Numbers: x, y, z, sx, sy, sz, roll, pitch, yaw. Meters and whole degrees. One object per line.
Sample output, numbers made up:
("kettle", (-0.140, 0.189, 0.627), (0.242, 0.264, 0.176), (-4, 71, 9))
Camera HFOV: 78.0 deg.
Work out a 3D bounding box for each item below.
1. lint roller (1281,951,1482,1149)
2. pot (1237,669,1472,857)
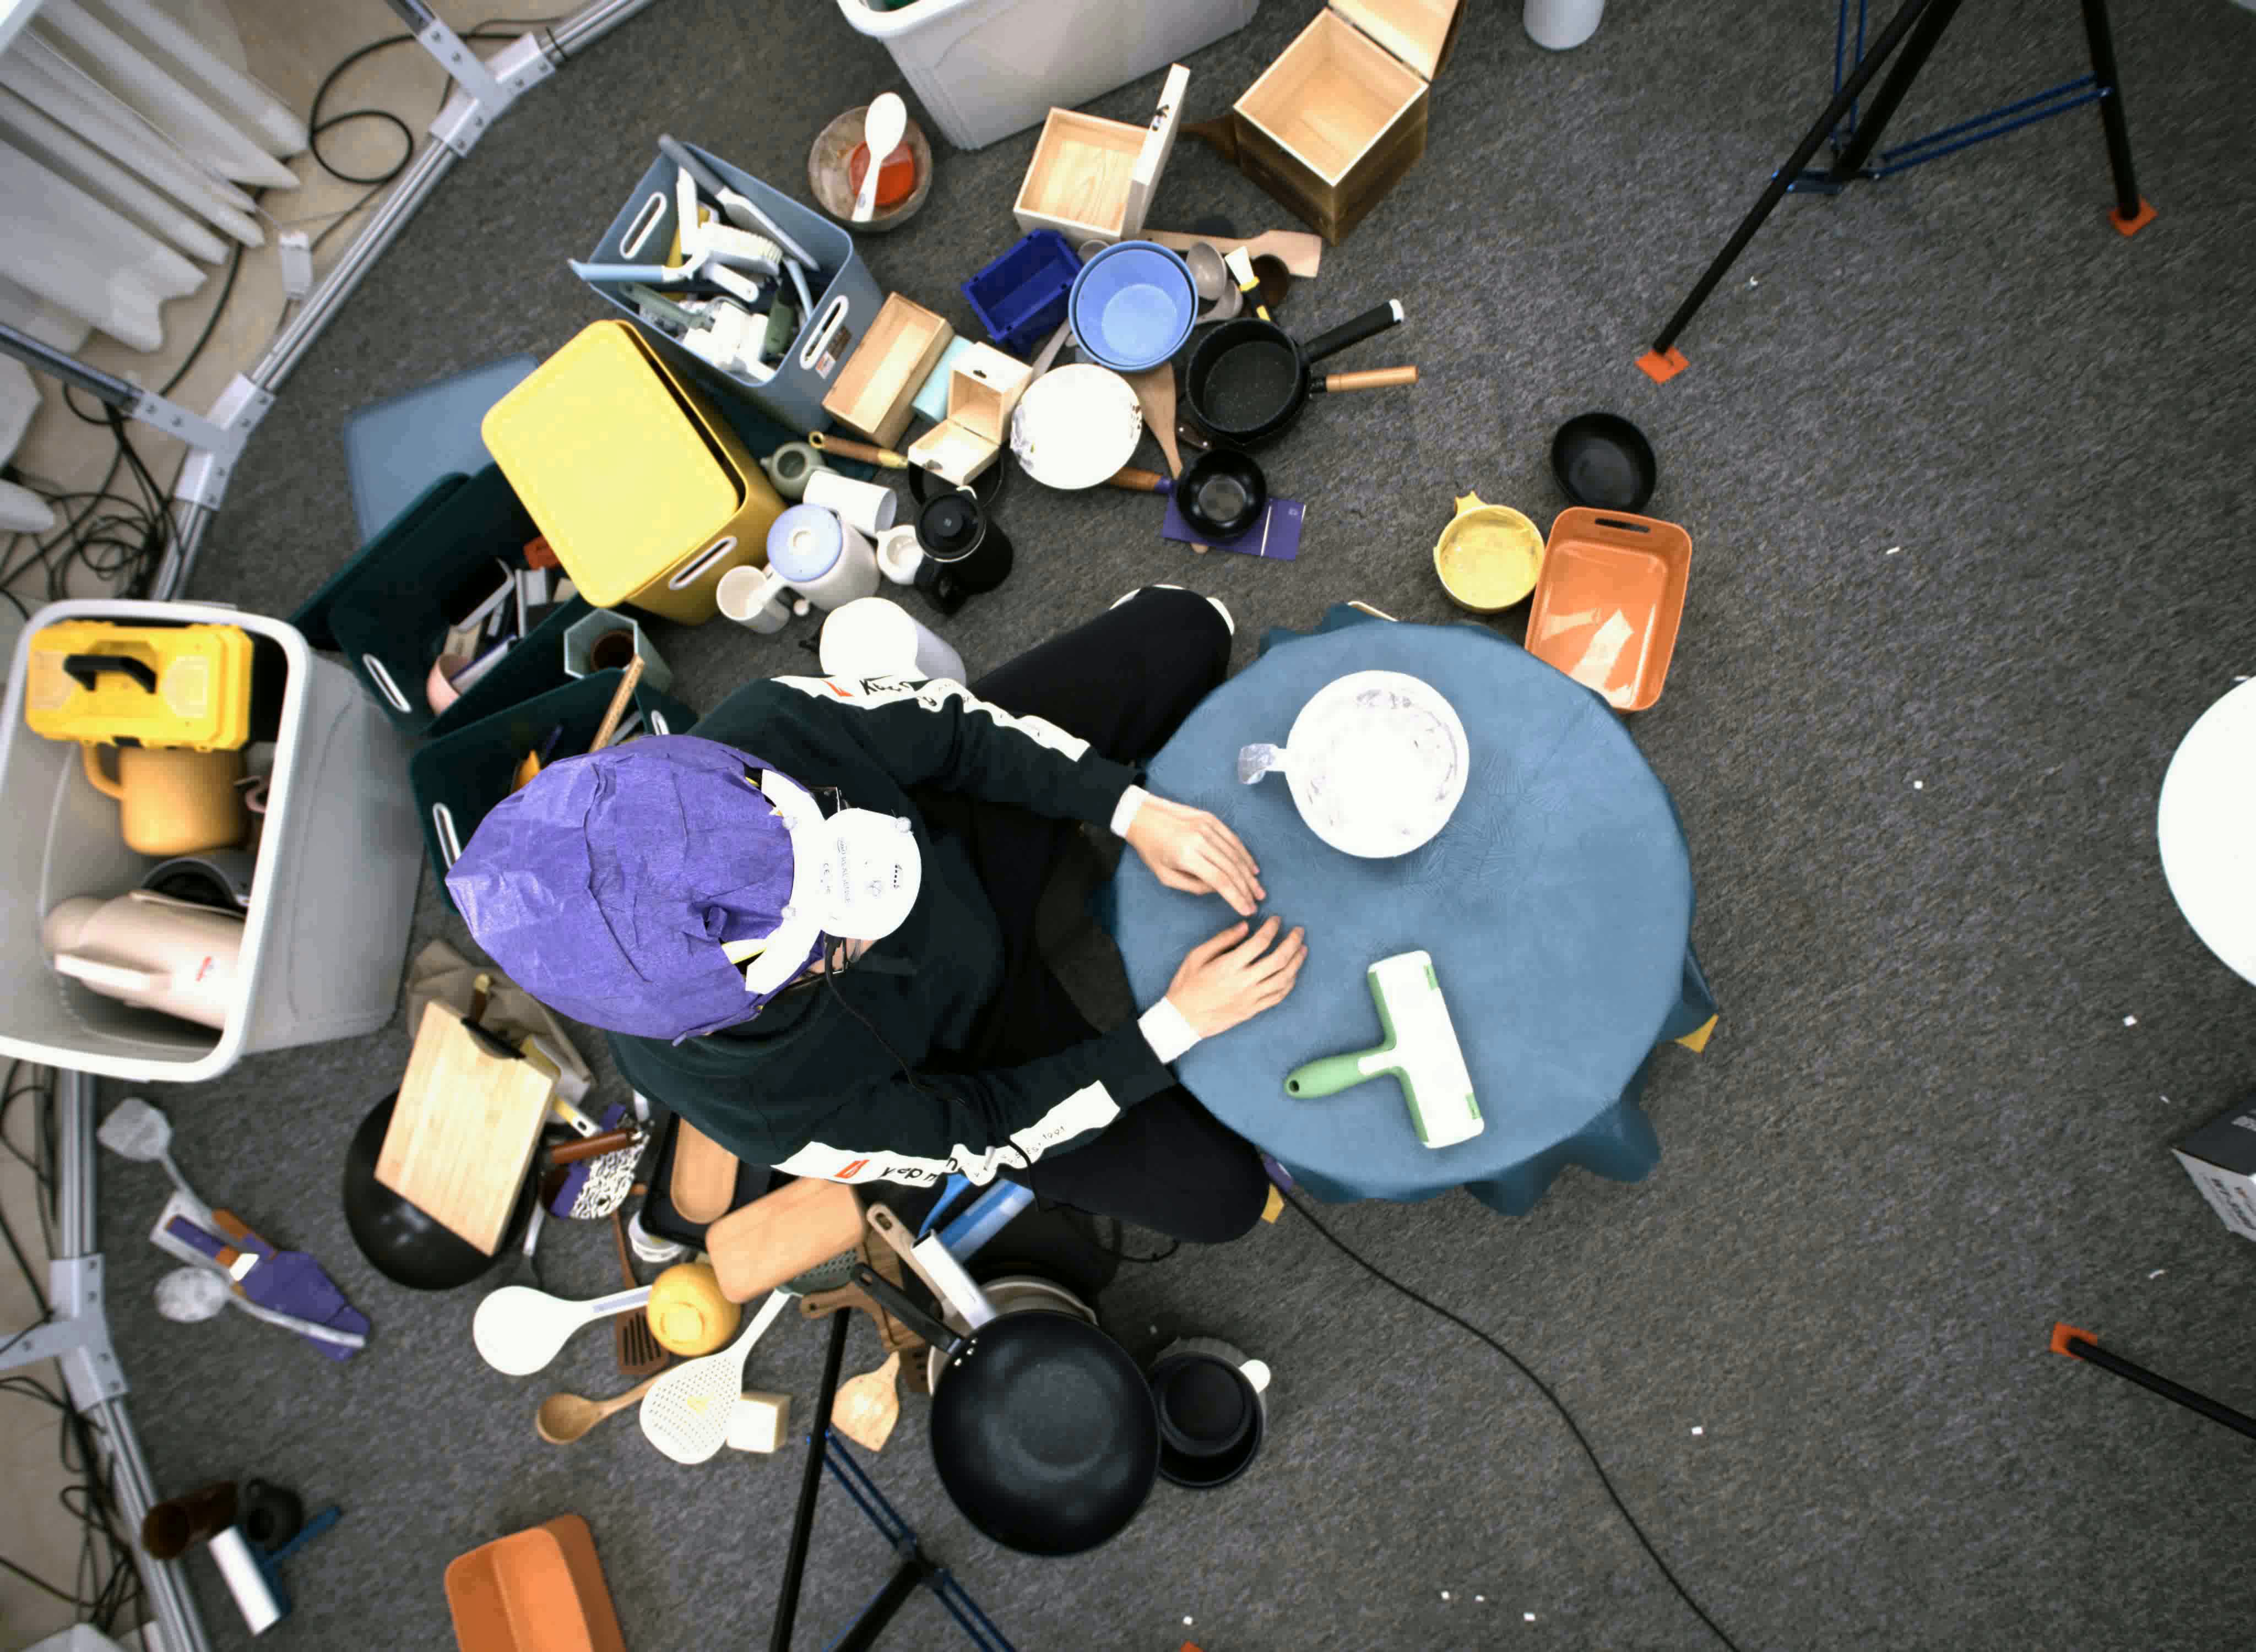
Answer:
("lint roller", (0.246, 0.243, 1.413), (0.184, 0.082, 0.197), (-17, 84, 4))
("pot", (0.225, -0.061, 1.400), (0.234, 0.137, 0.178), (3, 86, 9))
